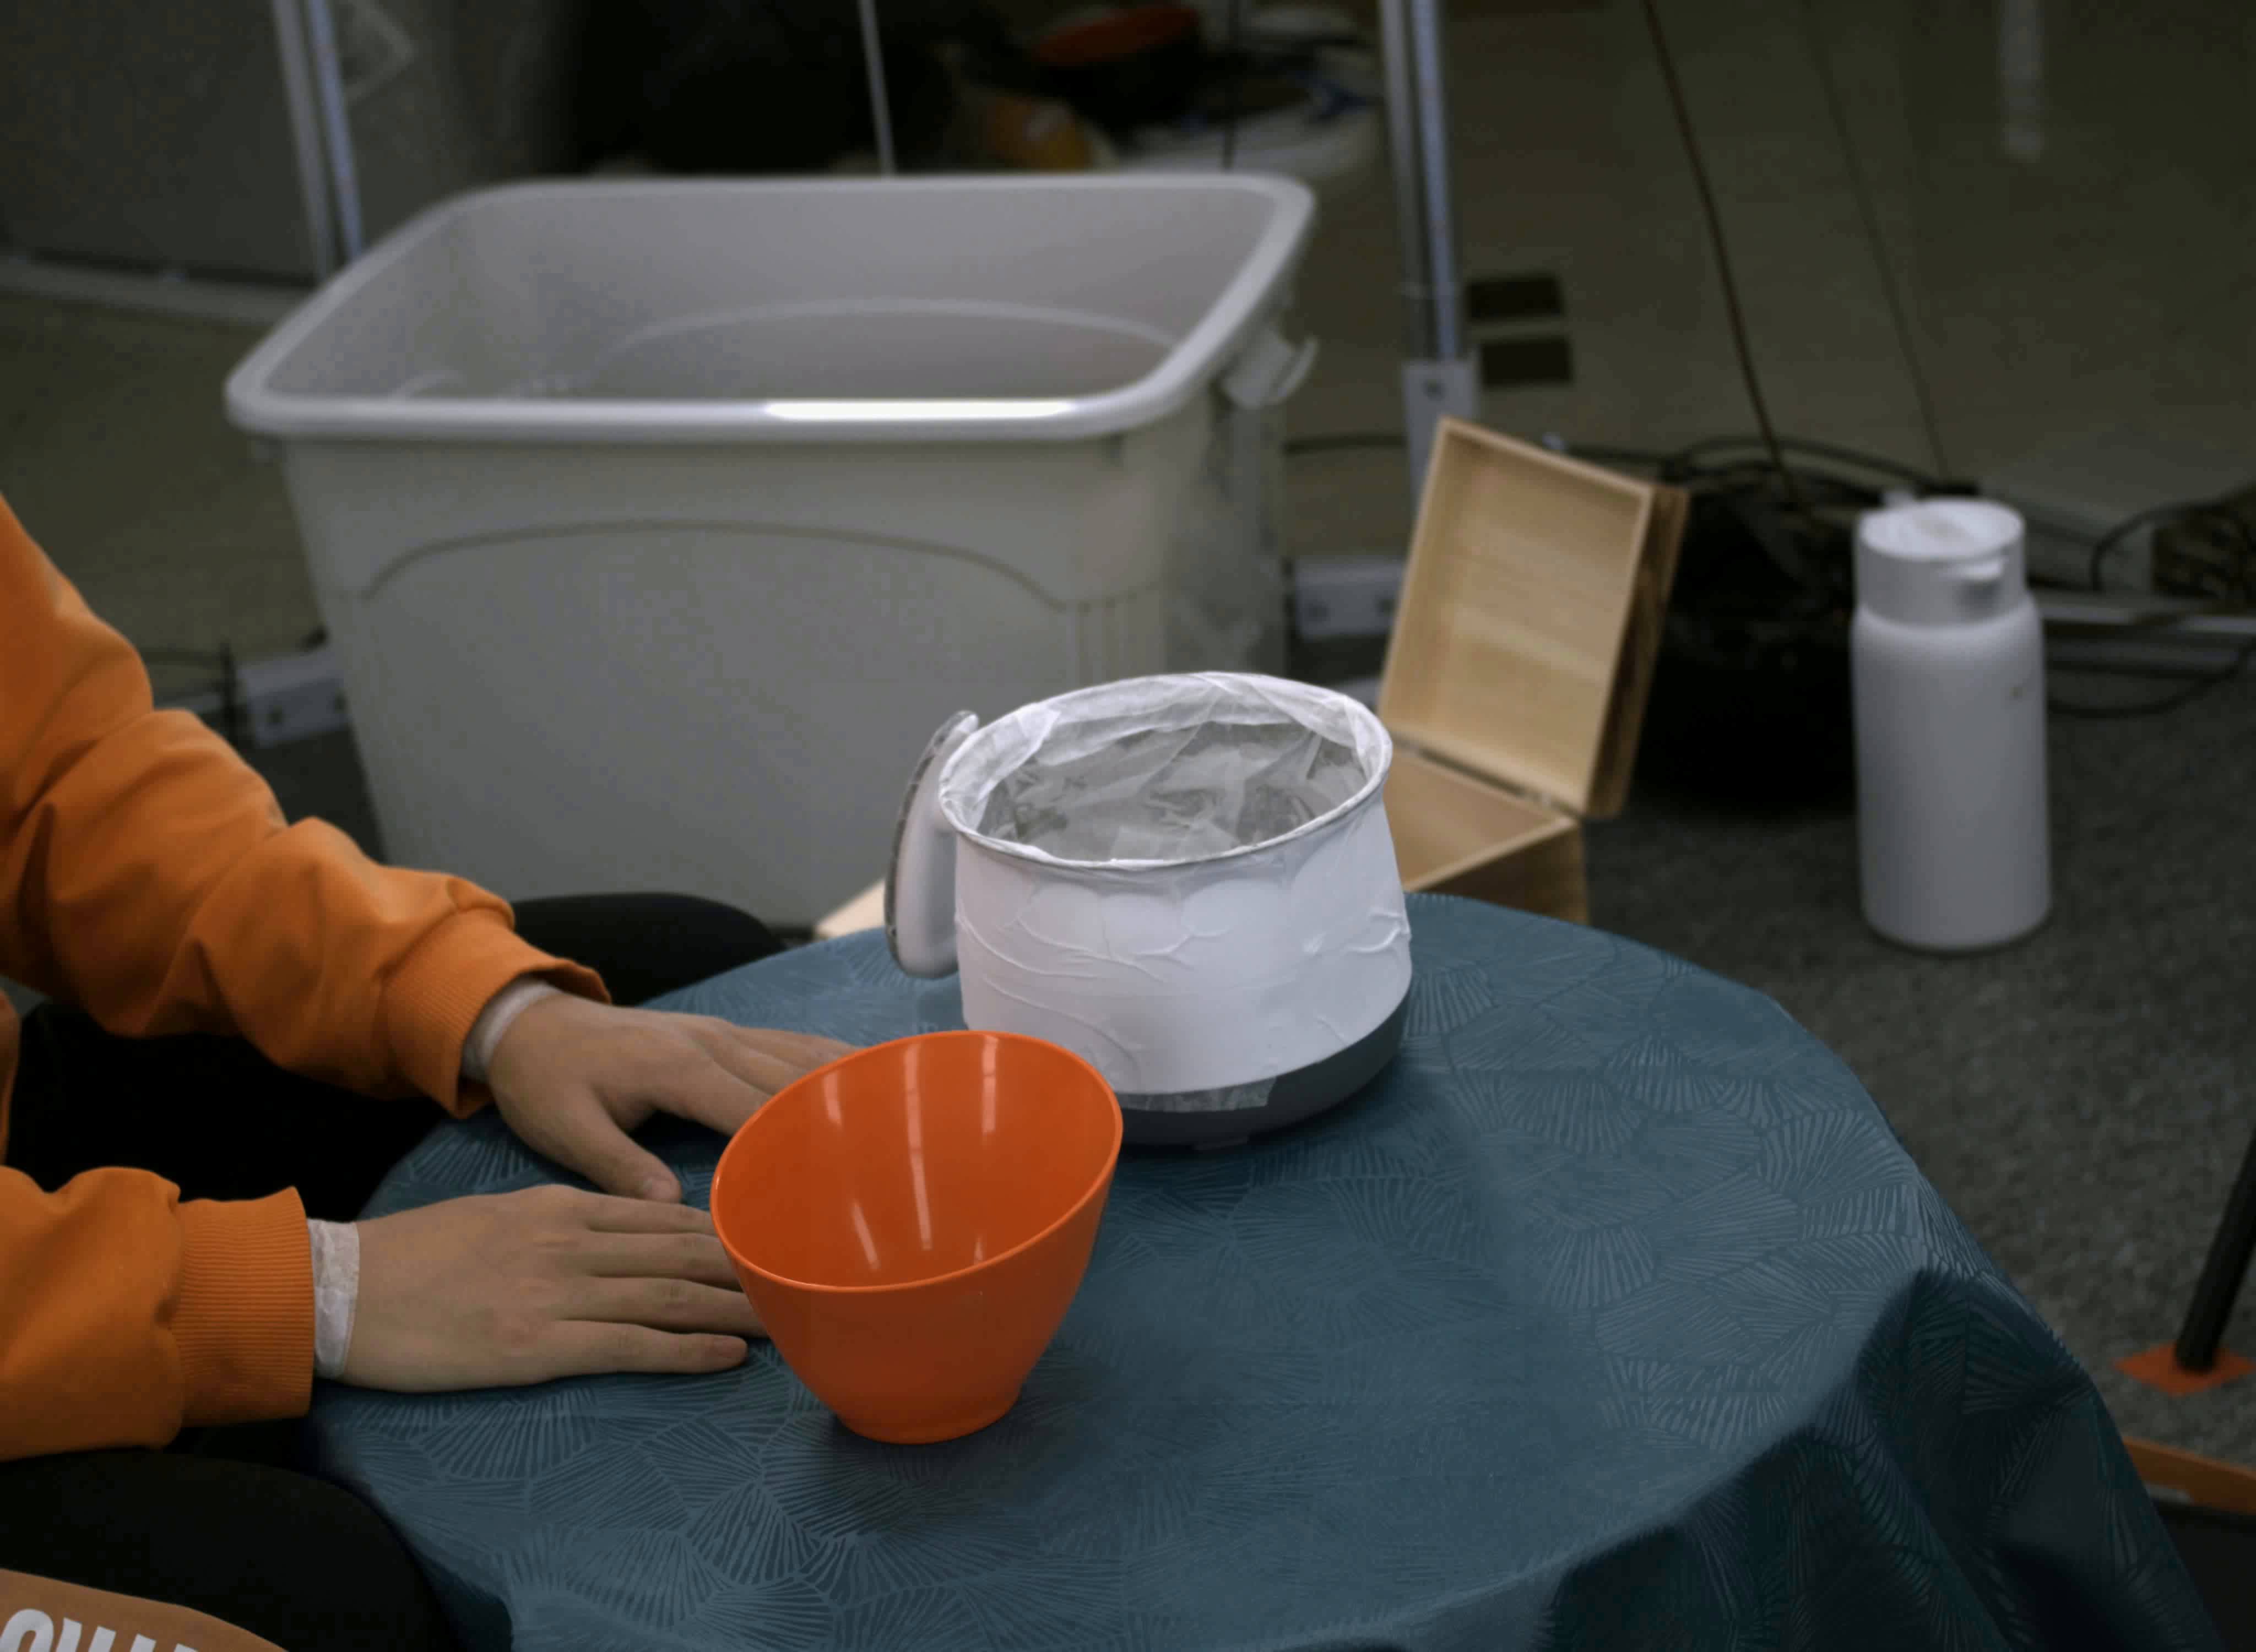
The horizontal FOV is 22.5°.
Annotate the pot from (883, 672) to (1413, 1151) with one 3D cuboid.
[{"bbox_3d":[-0.002,0.029,2.217,0.232,0.139,0.177,12,31,34],"label":"pot"}]

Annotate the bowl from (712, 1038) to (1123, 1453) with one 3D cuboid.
[{"bbox_3d":[-0.070,0.156,2.012,0.148,0.106,0.146,-6,27,3],"label":"bowl"}]
